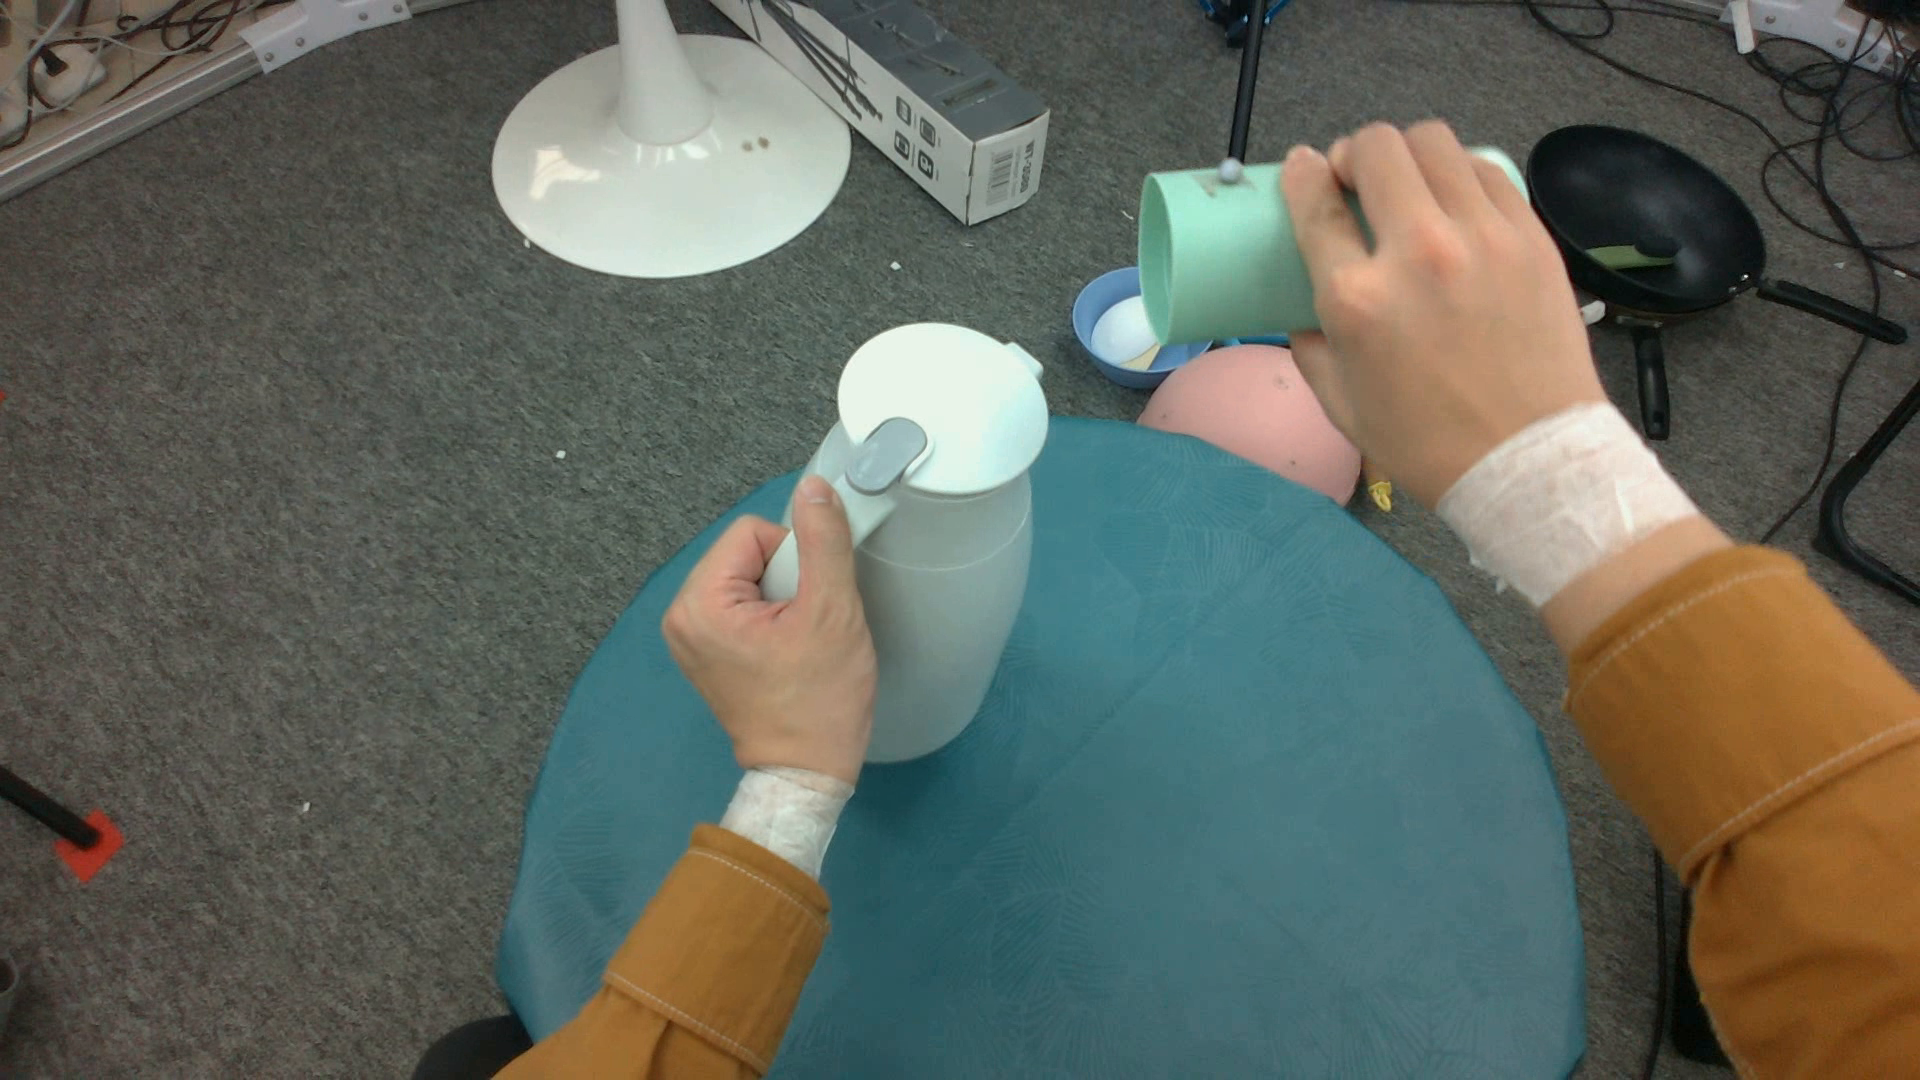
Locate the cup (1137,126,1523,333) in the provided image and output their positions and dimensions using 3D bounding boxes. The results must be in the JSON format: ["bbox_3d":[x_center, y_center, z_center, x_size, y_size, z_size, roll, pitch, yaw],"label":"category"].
[{"bbox_3d":[0.138,-0.119,0.529,0.132,0.066,0.067,-7,56,-2],"label":"cup"}]

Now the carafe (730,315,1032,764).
[{"bbox_3d":[-0.044,0.012,0.673,0.132,0.247,0.168,40,59,15],"label":"carafe"}]
